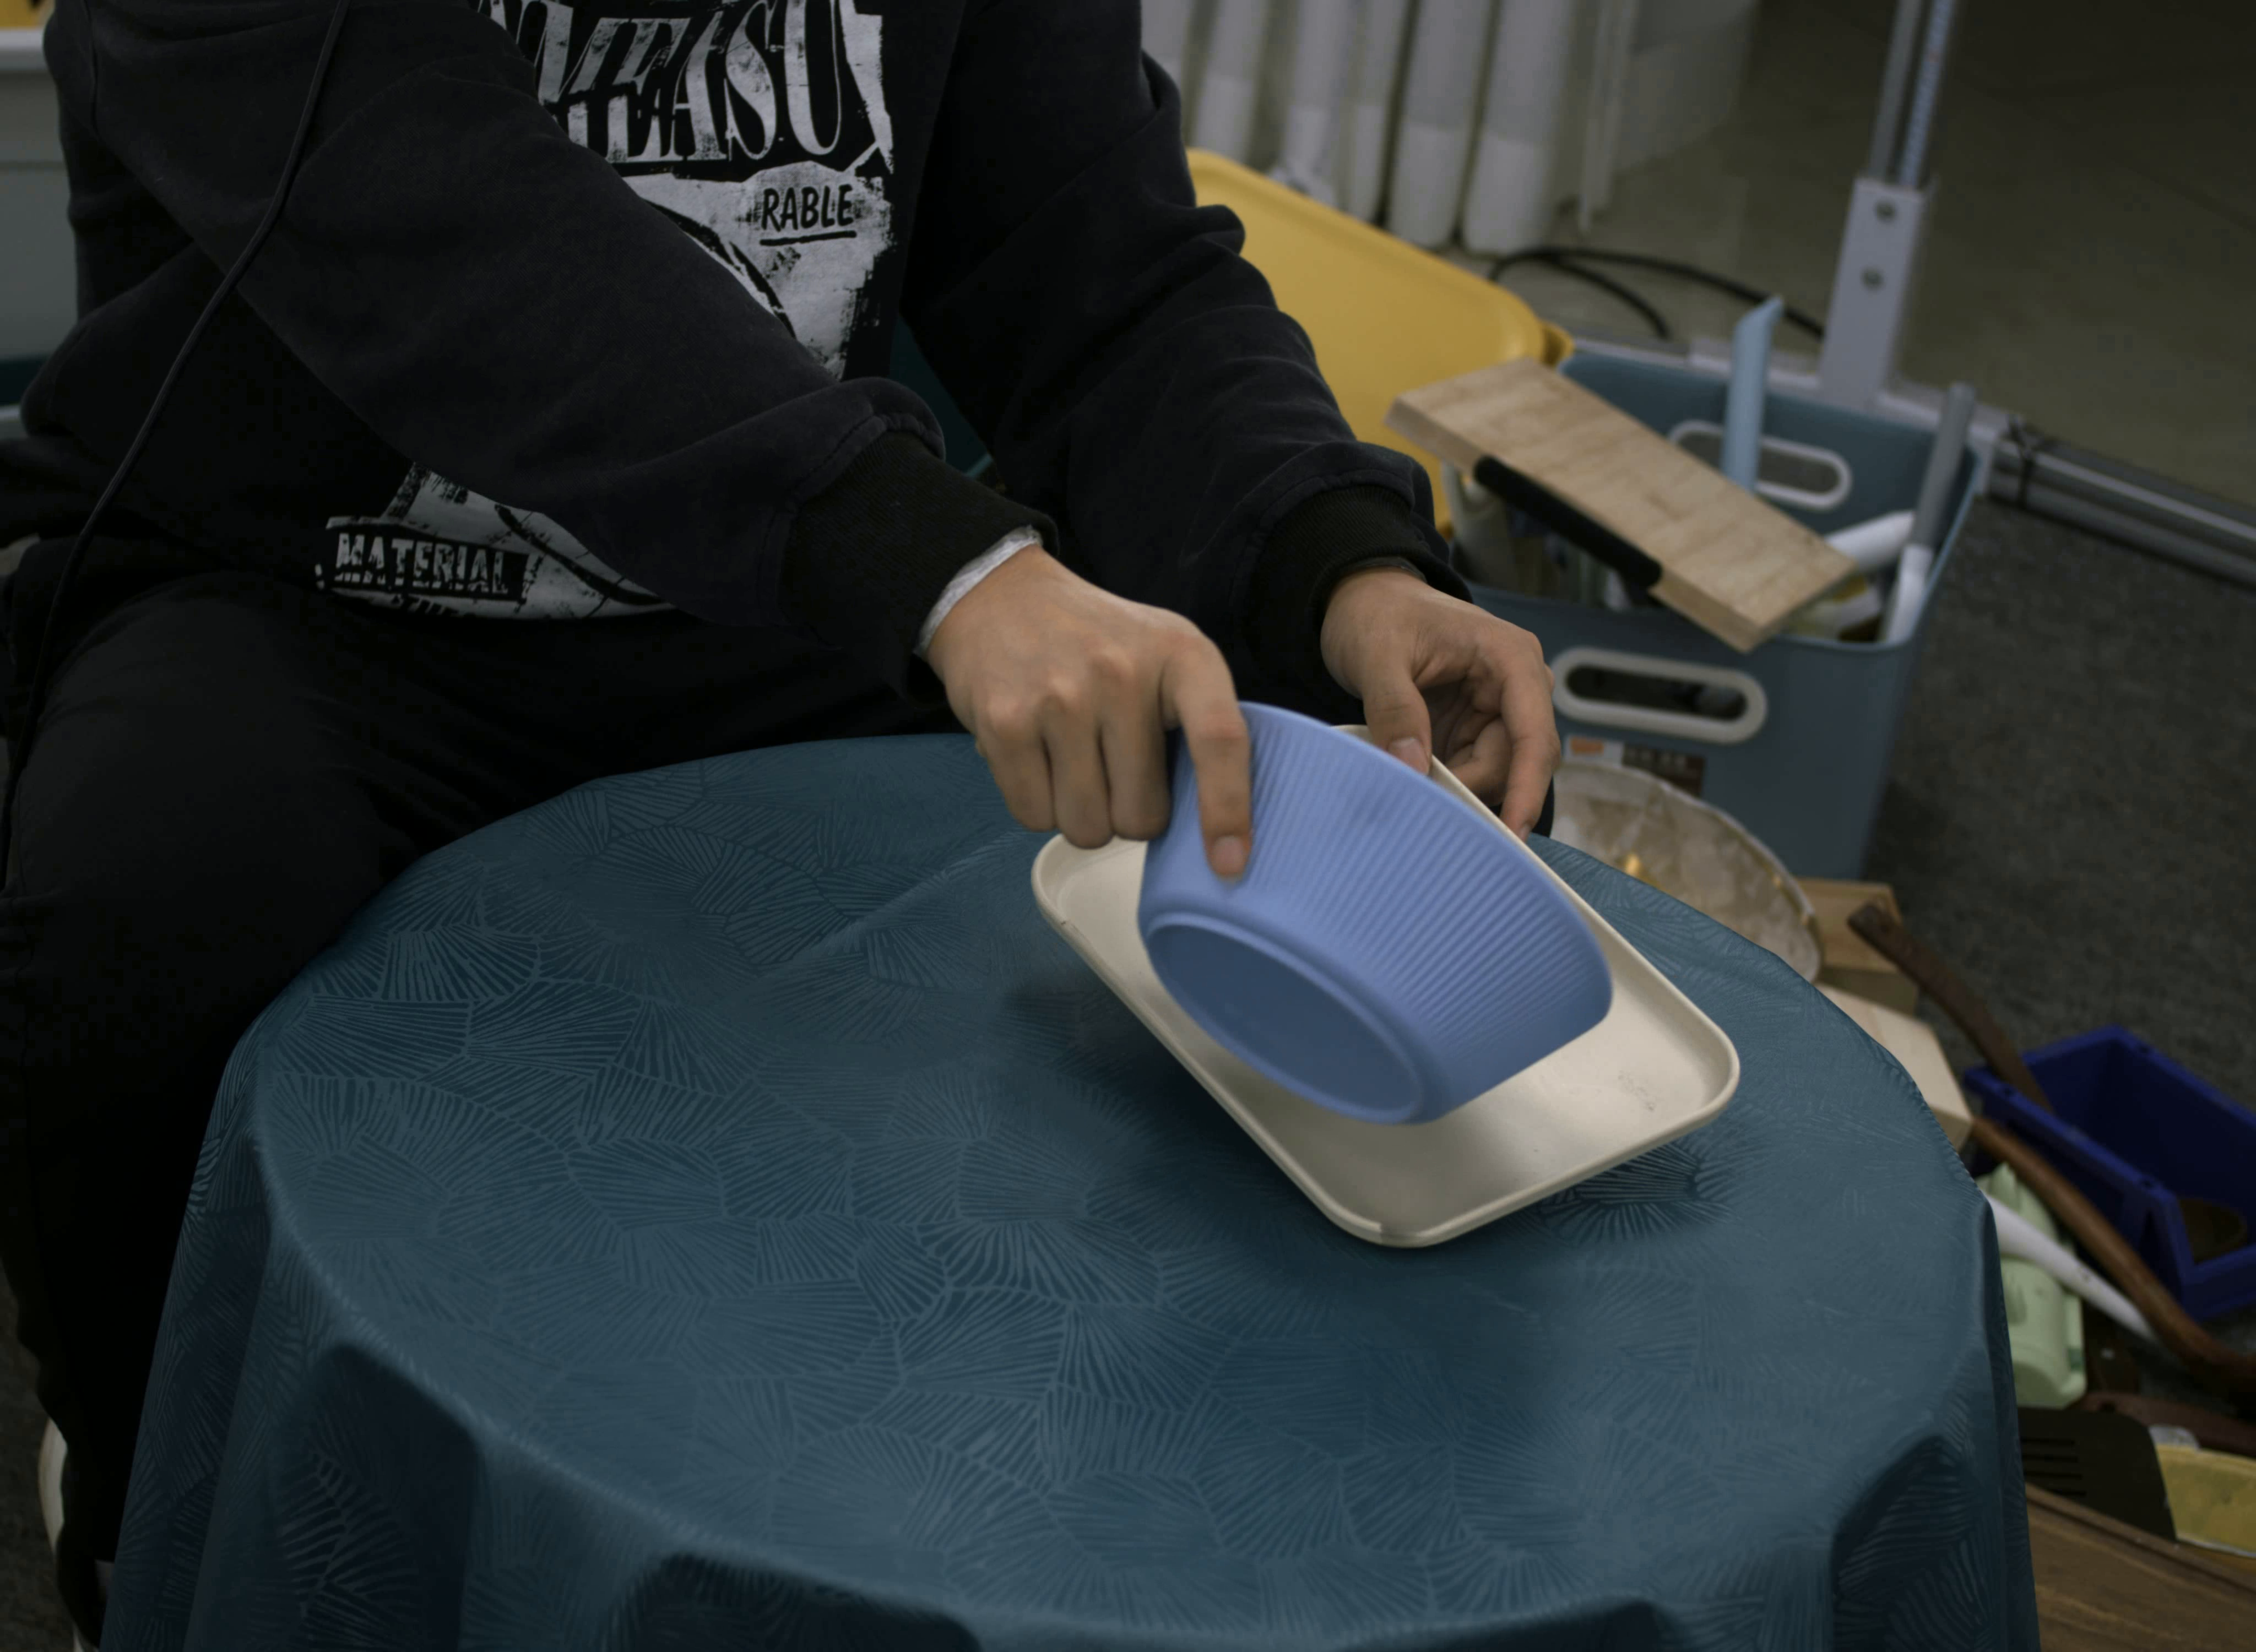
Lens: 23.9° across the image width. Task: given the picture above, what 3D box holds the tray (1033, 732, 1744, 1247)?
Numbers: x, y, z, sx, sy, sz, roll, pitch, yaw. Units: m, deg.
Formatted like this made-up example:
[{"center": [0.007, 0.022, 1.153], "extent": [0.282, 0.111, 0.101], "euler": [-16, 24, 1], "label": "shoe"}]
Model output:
[{"center": [0.089, 0.056, 1.878], "extent": [0.170, 0.017, 0.242], "euler": [-21, 44, -26], "label": "tray"}]

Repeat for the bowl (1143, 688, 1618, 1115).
[{"center": [0.071, 0.036, 1.769], "extent": [0.177, 0.174, 0.070], "euler": [24, 67, 30], "label": "bowl"}]
